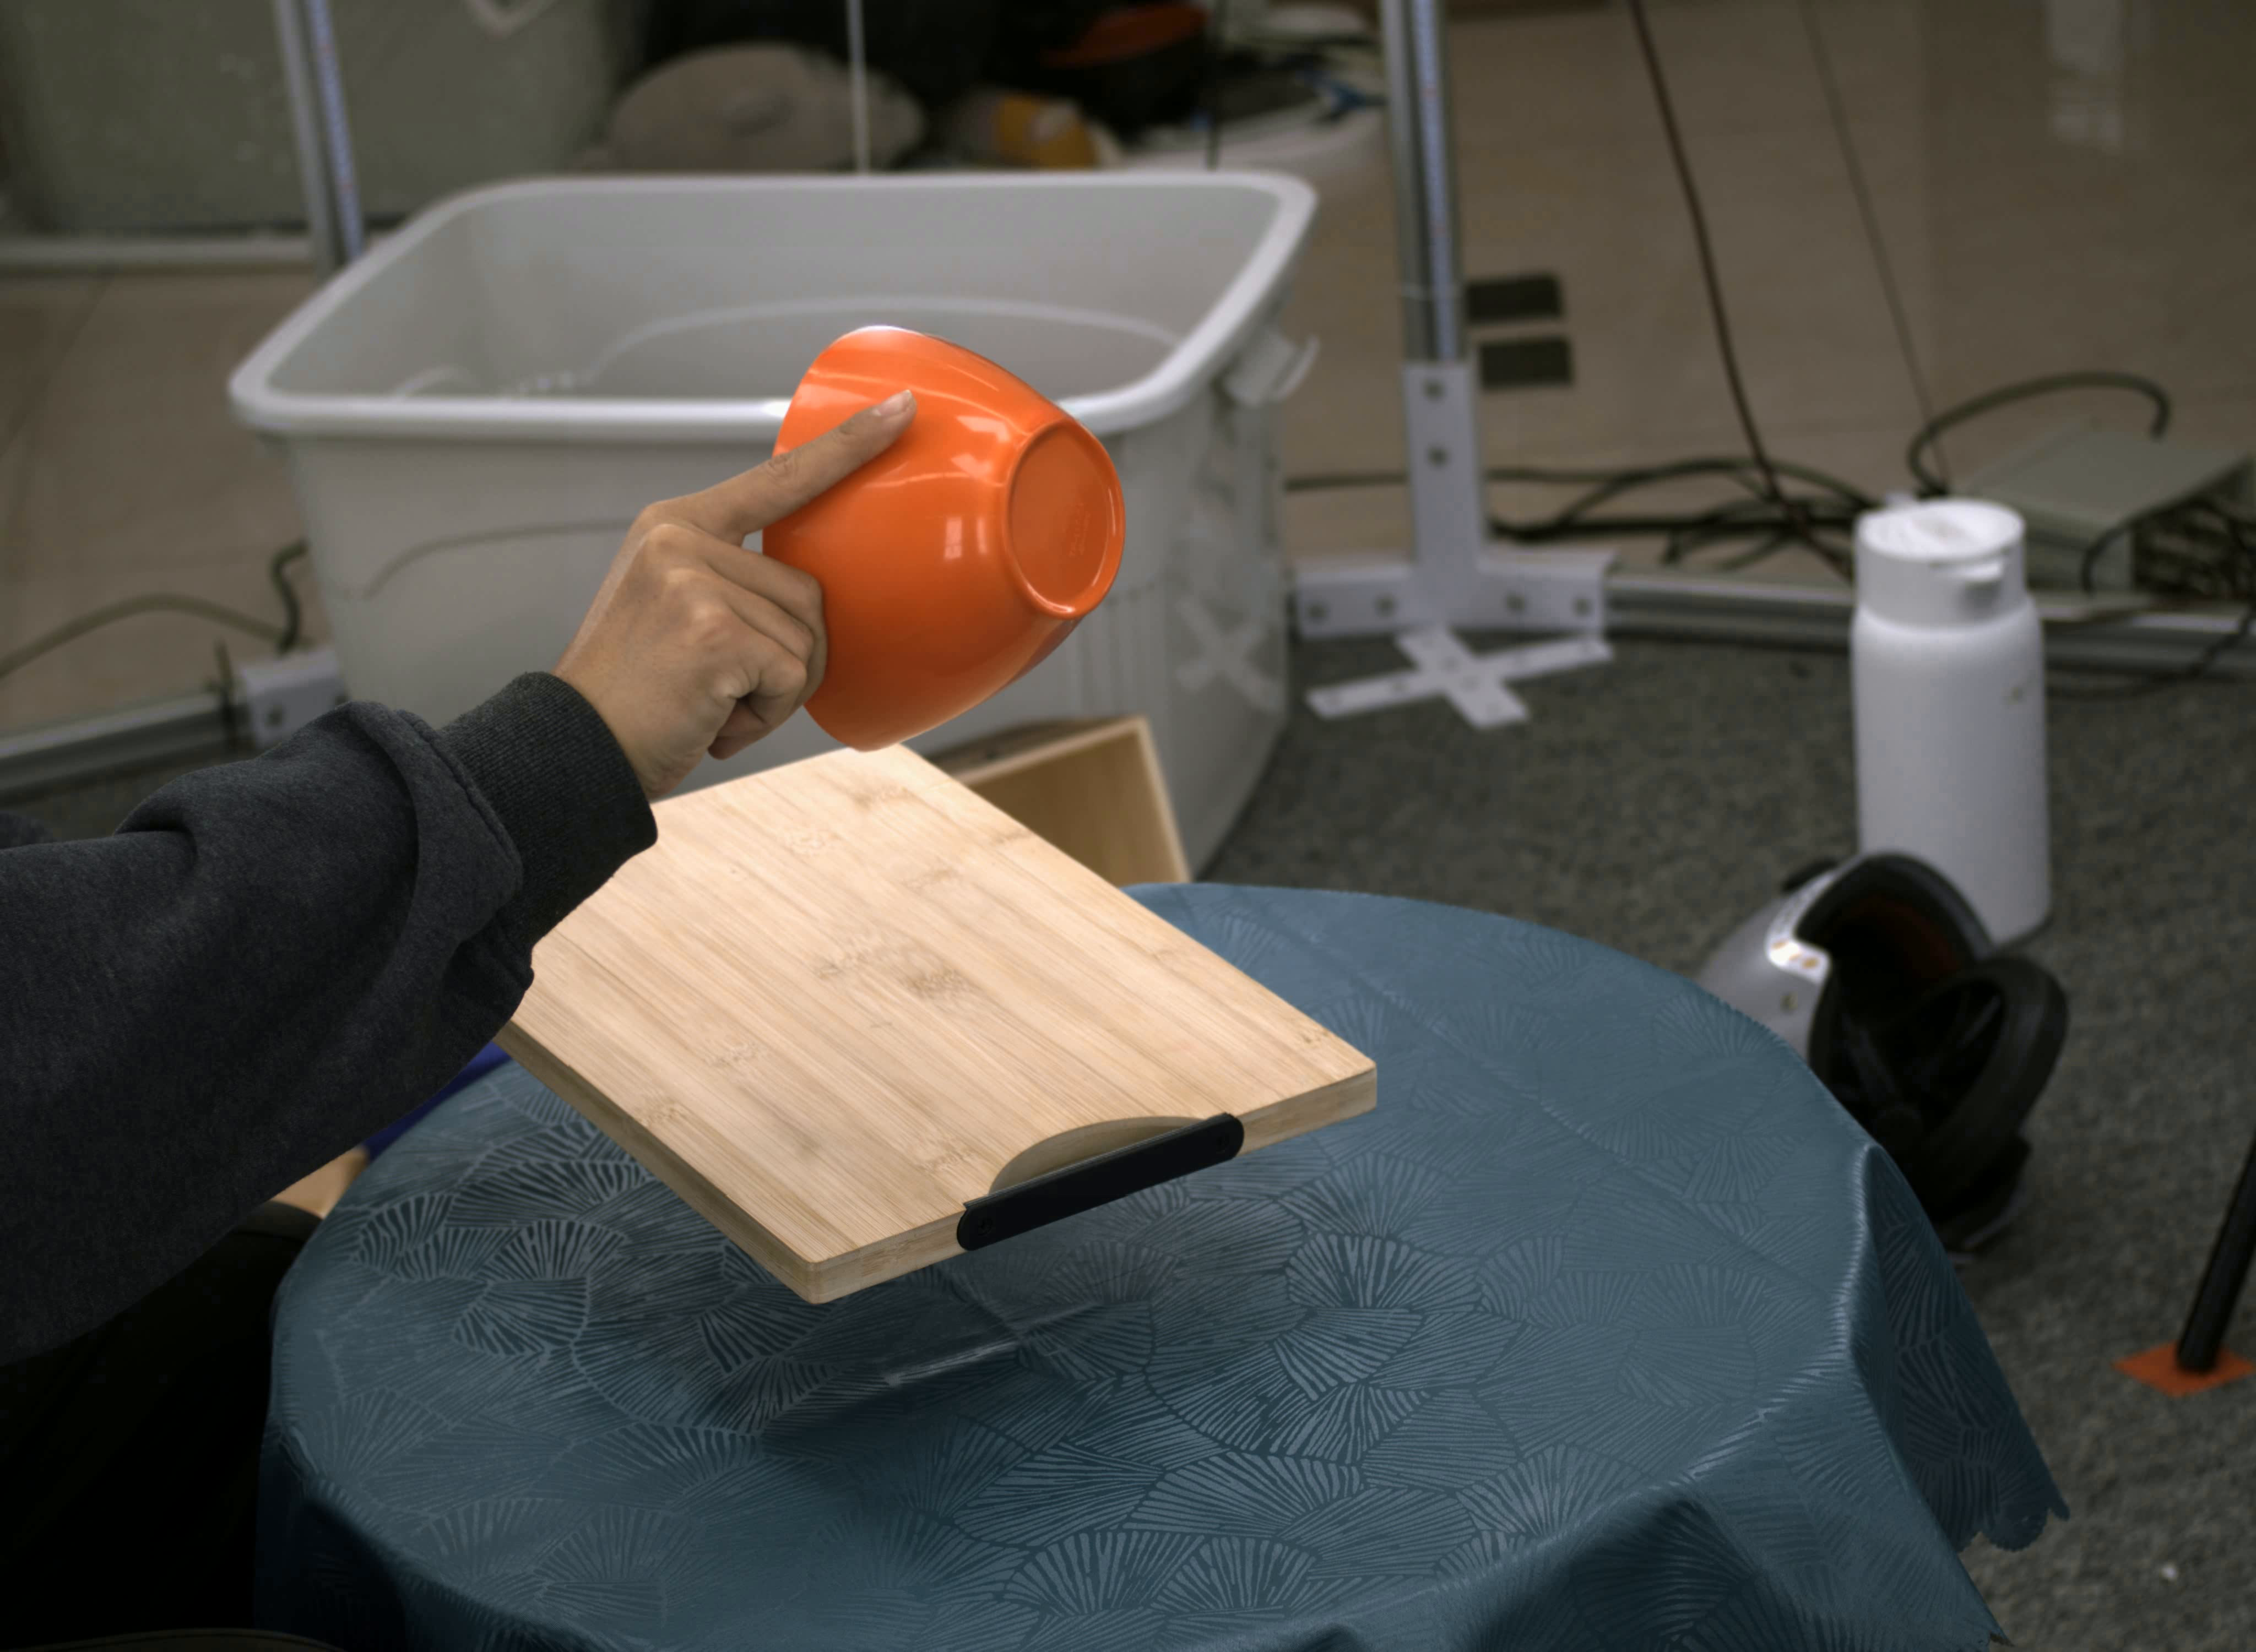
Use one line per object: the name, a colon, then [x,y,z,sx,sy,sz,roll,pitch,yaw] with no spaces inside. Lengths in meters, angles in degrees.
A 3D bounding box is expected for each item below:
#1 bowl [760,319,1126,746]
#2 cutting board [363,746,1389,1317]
bowl: [-0.054,-0.100,1.930,0.104,0.150,0.146,4,26,38]
cutting board: [-0.099,0.066,2.100,0.249,0.024,0.344,-18,31,-30]
